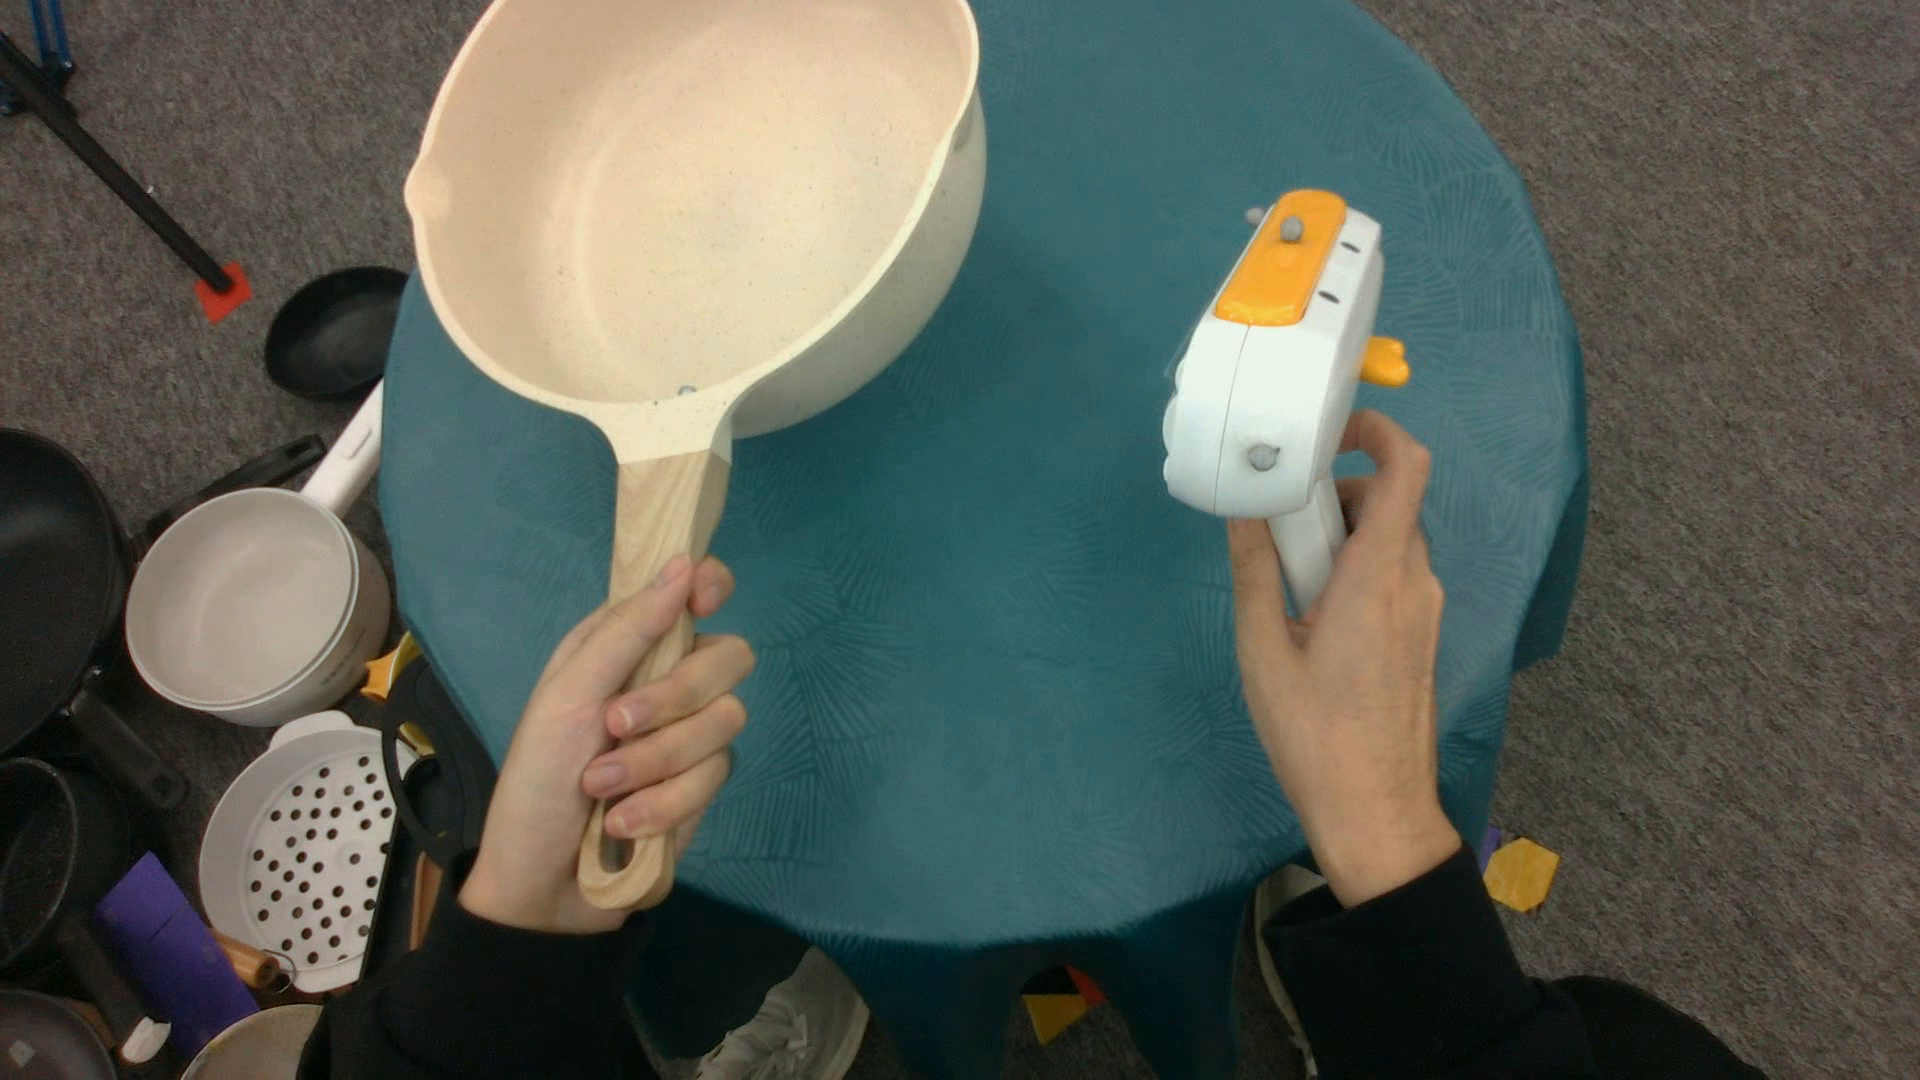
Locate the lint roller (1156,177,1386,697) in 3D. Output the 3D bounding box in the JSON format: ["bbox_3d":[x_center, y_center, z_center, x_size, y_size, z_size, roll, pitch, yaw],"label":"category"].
[{"bbox_3d":[0.119,-0.024,0.521,0.074,0.191,0.194,1,30,13],"label":"lint roller"}]

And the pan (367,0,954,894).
[{"bbox_3d":[-0.115,-0.079,0.562,0.263,0.102,0.436,-8,72,14],"label":"pan"}]
